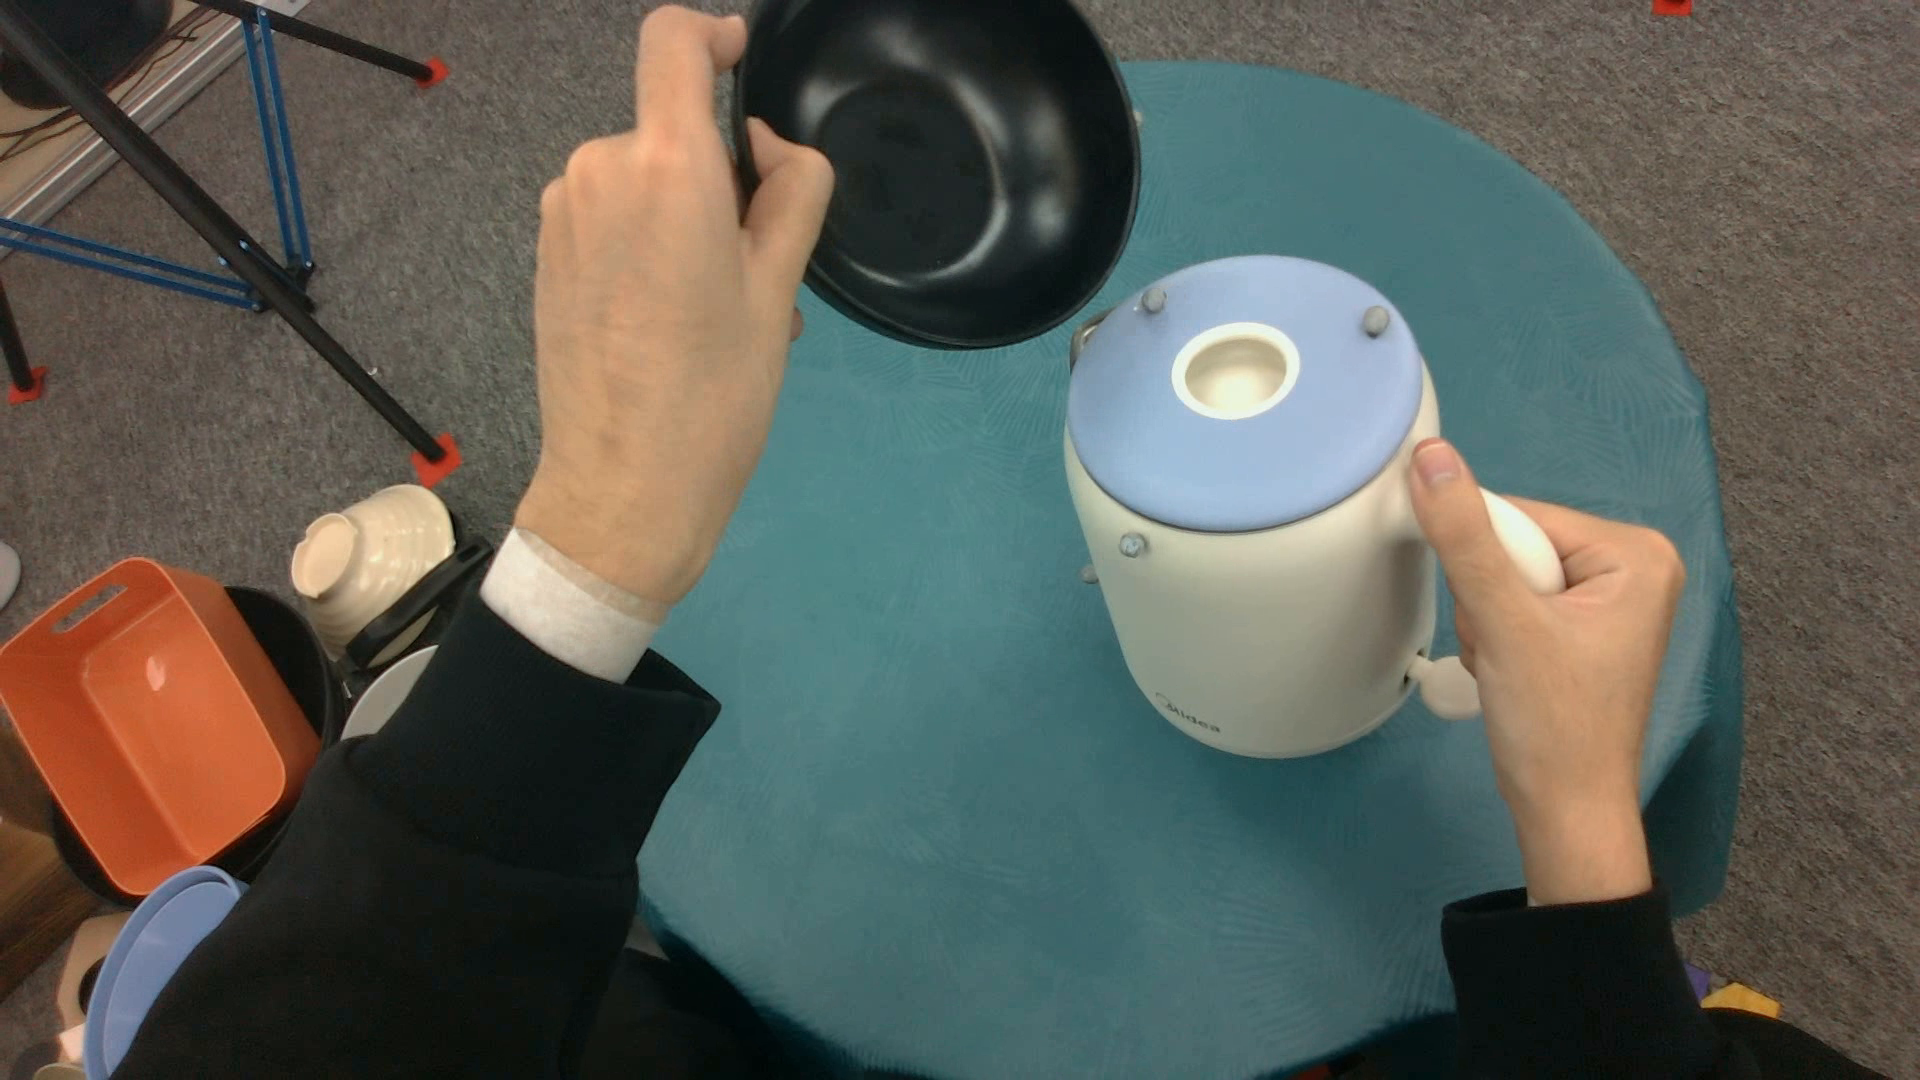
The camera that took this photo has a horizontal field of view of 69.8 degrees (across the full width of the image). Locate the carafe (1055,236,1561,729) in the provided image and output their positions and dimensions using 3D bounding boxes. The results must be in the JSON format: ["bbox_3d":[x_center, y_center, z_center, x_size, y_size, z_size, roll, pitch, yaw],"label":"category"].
[{"bbox_3d":[0.132,-0.007,0.528,0.191,0.182,0.132,24,69,25],"label":"carafe"}]

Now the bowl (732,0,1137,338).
[{"bbox_3d":[-0.013,-0.132,0.453,0.140,0.049,0.140,1,87,-26],"label":"bowl"}]
